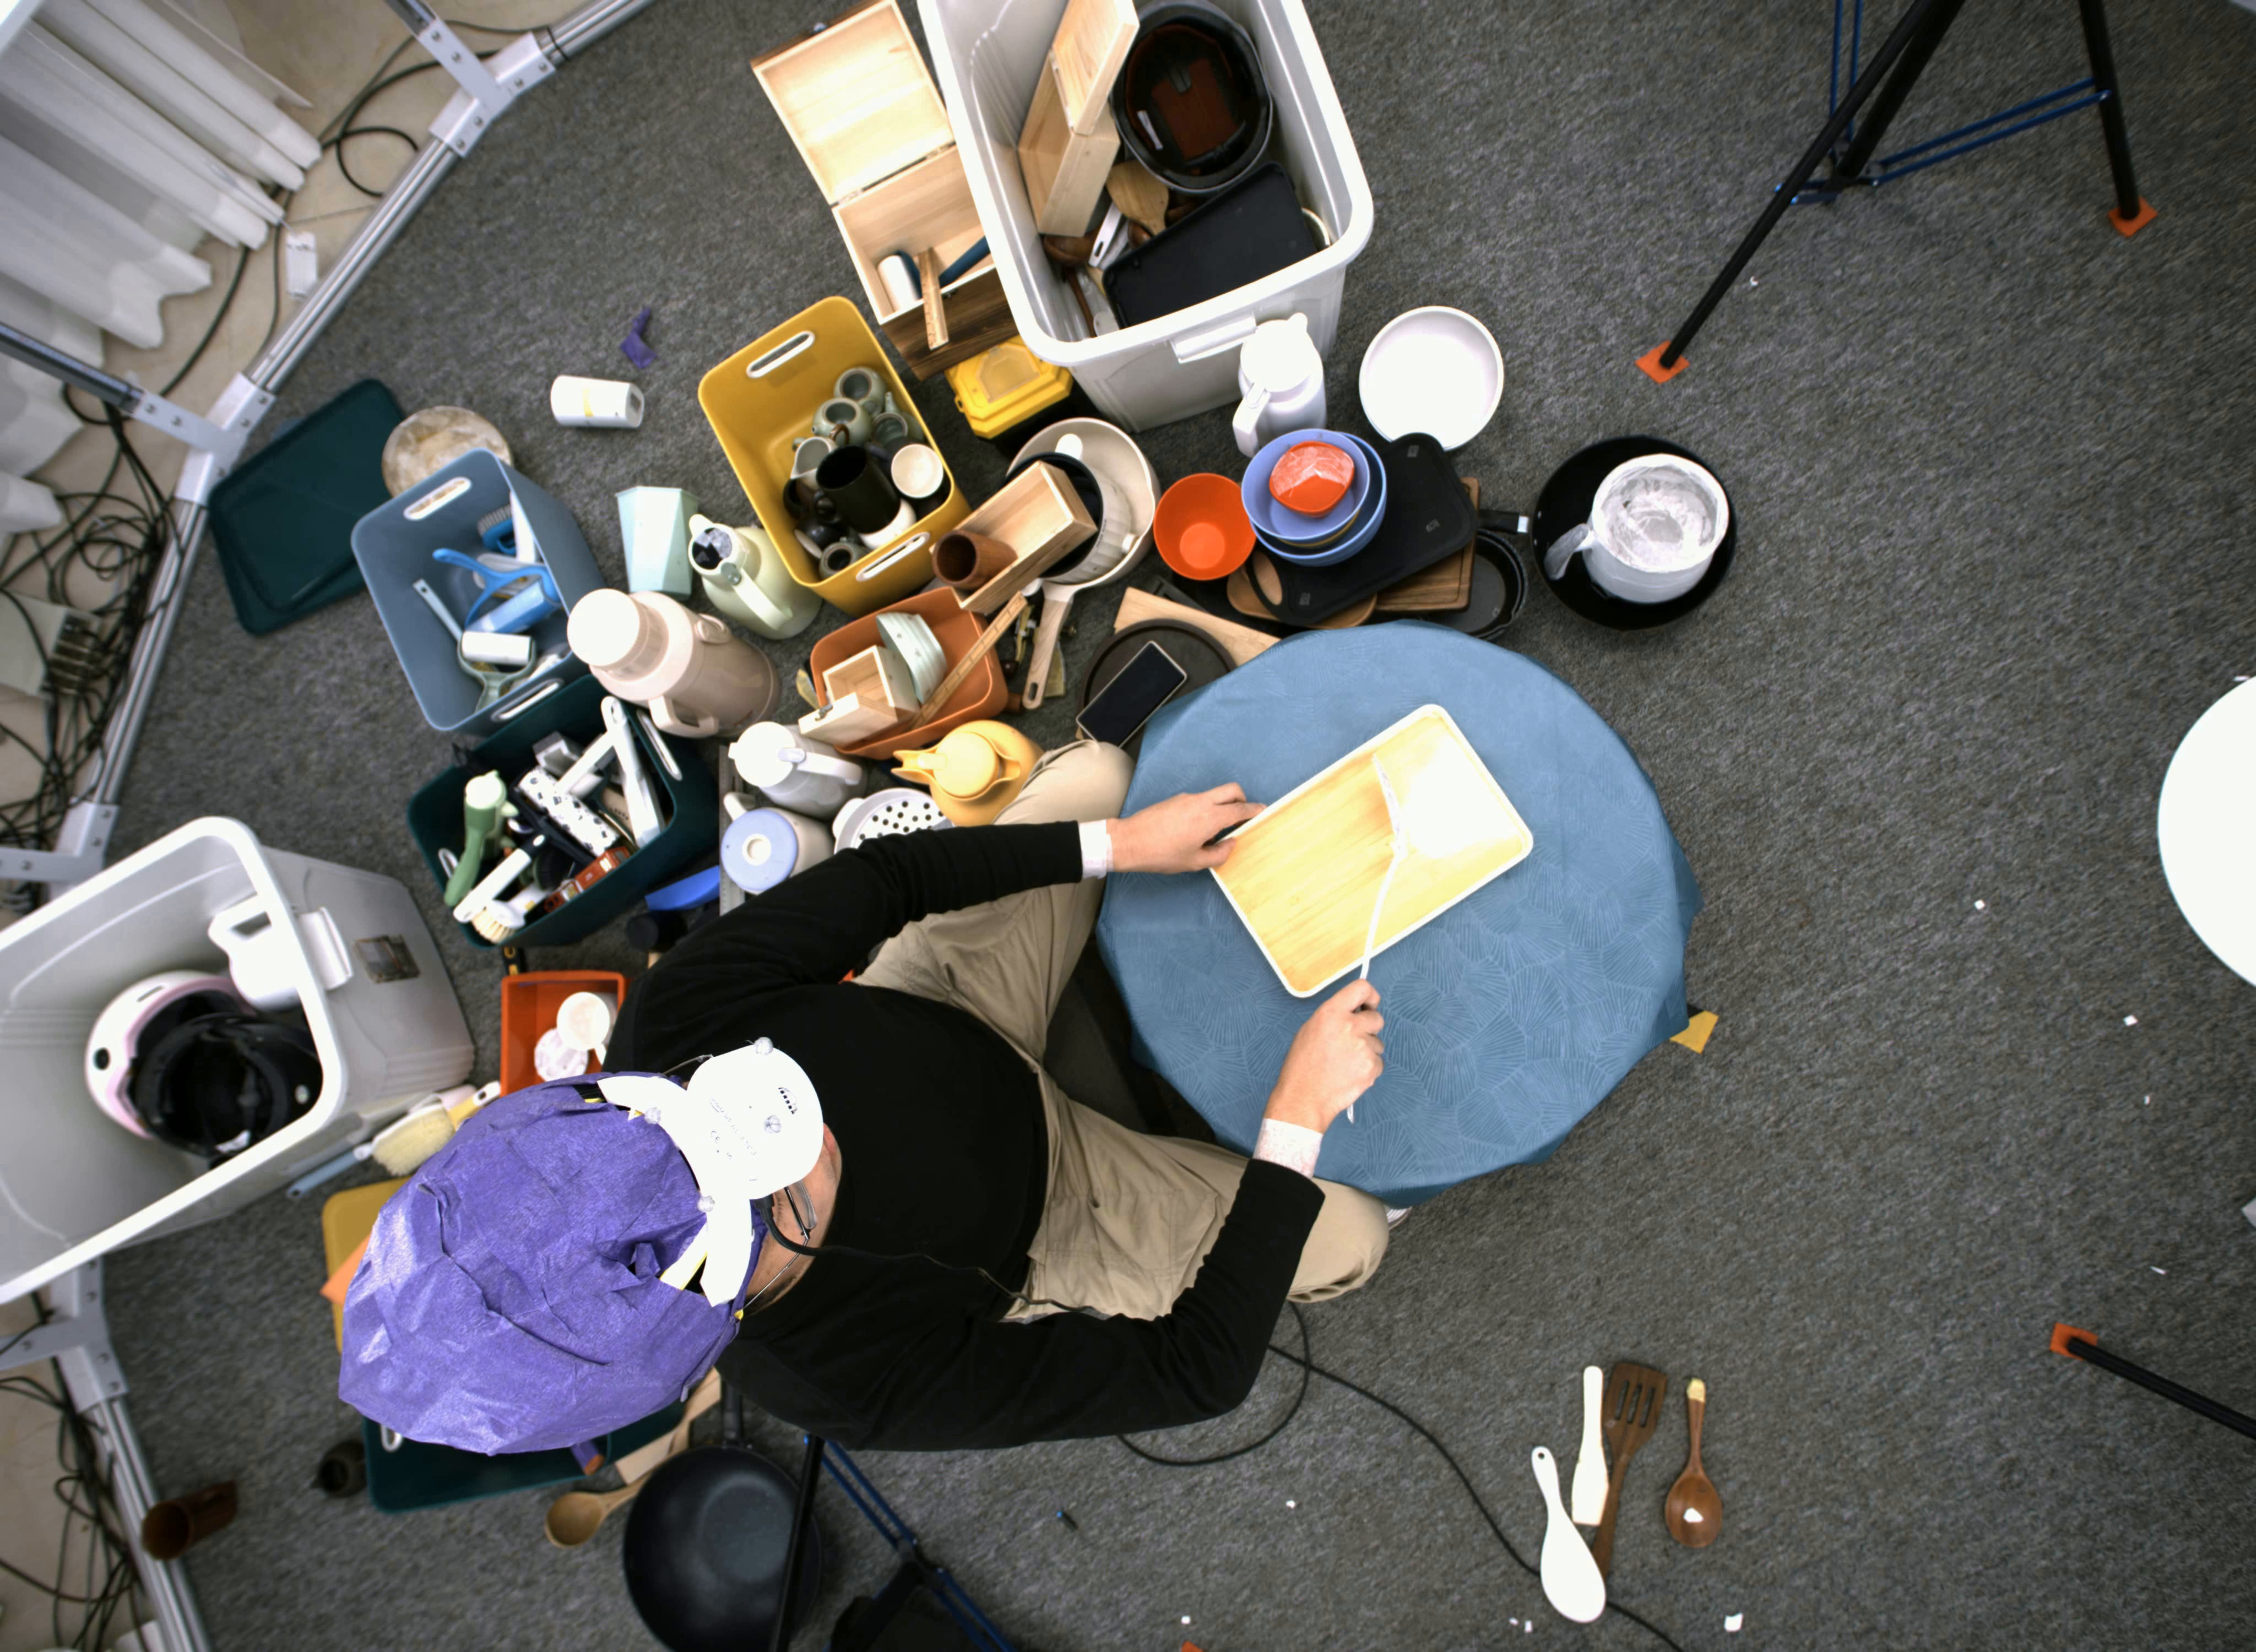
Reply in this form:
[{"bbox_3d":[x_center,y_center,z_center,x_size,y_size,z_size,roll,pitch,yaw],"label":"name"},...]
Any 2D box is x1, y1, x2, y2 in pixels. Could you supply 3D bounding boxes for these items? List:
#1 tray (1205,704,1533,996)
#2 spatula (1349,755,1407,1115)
[{"bbox_3d":[0.251,0.025,1.452,0.302,0.027,0.190,-33,82,7],"label":"tray"},{"bbox_3d":[0.237,0.102,1.362,0.045,0.100,0.358,7,69,22],"label":"spatula"}]
